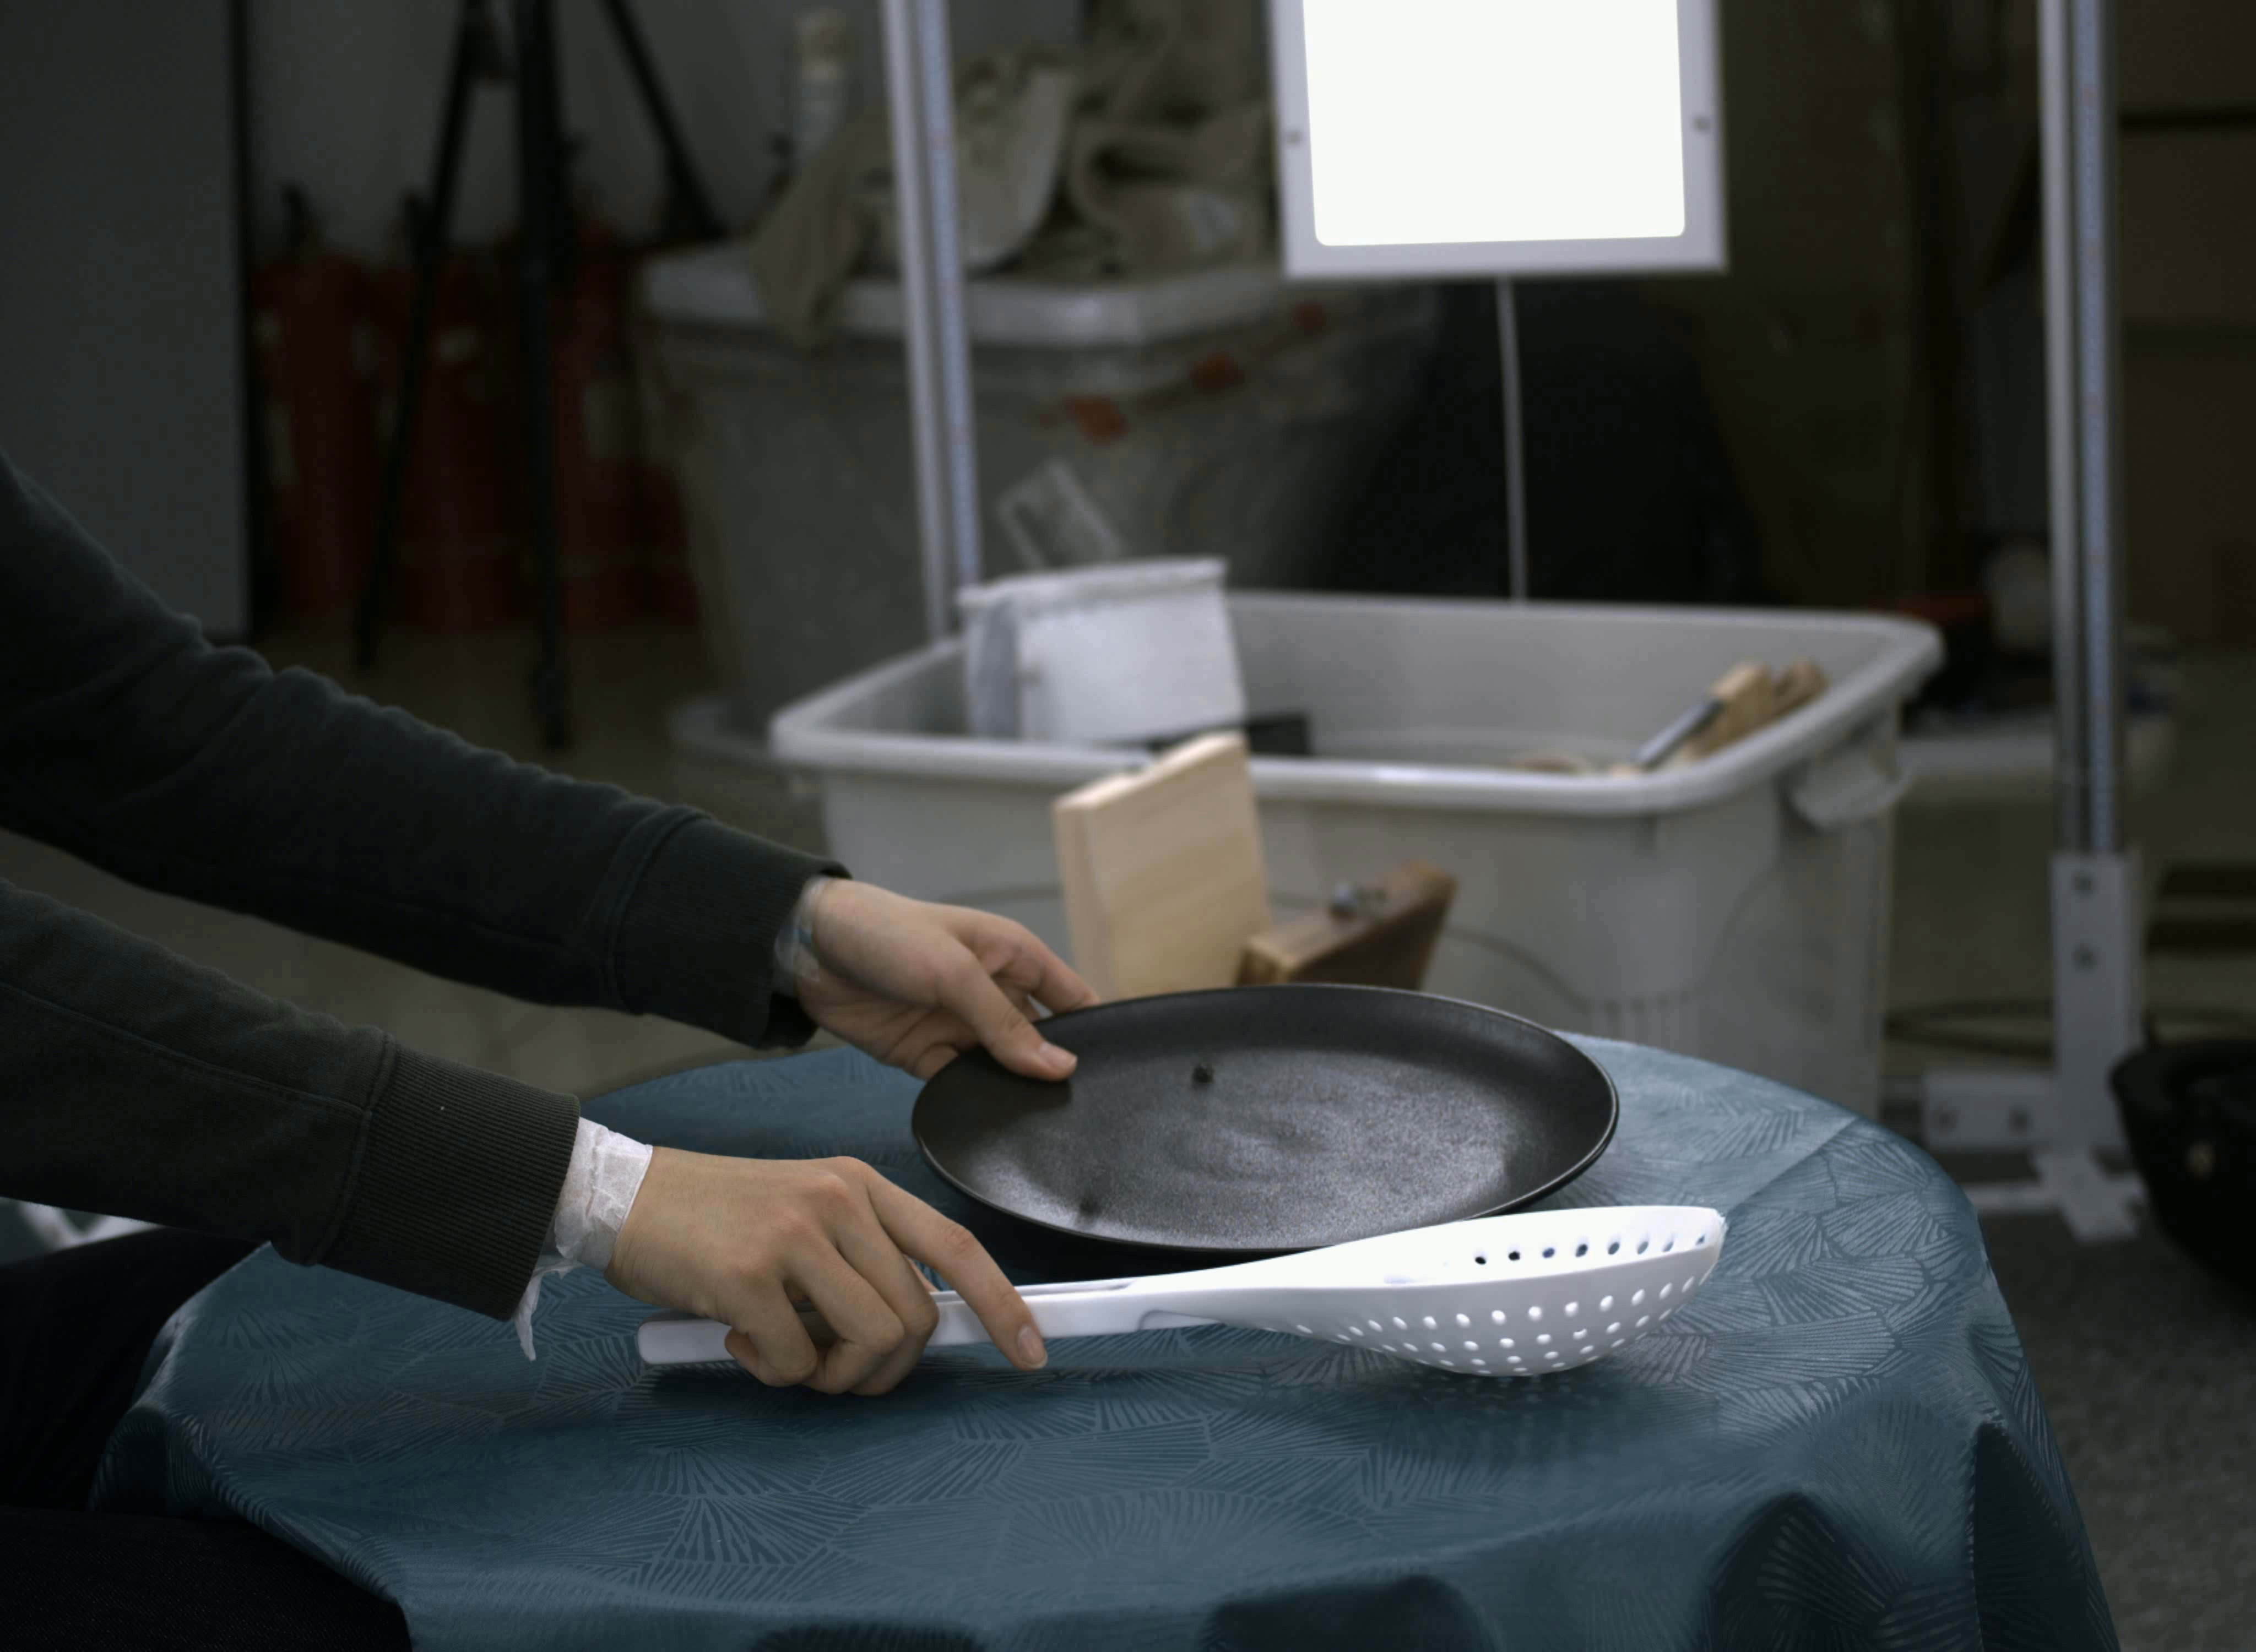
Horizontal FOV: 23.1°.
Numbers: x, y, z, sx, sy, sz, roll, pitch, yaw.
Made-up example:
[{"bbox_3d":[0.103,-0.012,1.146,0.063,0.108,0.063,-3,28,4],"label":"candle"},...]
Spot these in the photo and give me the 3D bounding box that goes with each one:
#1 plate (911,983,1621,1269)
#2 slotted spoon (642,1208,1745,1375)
[{"bbox_3d":[0.047,0.106,1.883,0.244,0.023,0.244,-3,19,0],"label":"plate"},{"bbox_3d":[0.017,0.146,1.707,0.353,0.046,0.134,-1,3,15],"label":"slotted spoon"}]
